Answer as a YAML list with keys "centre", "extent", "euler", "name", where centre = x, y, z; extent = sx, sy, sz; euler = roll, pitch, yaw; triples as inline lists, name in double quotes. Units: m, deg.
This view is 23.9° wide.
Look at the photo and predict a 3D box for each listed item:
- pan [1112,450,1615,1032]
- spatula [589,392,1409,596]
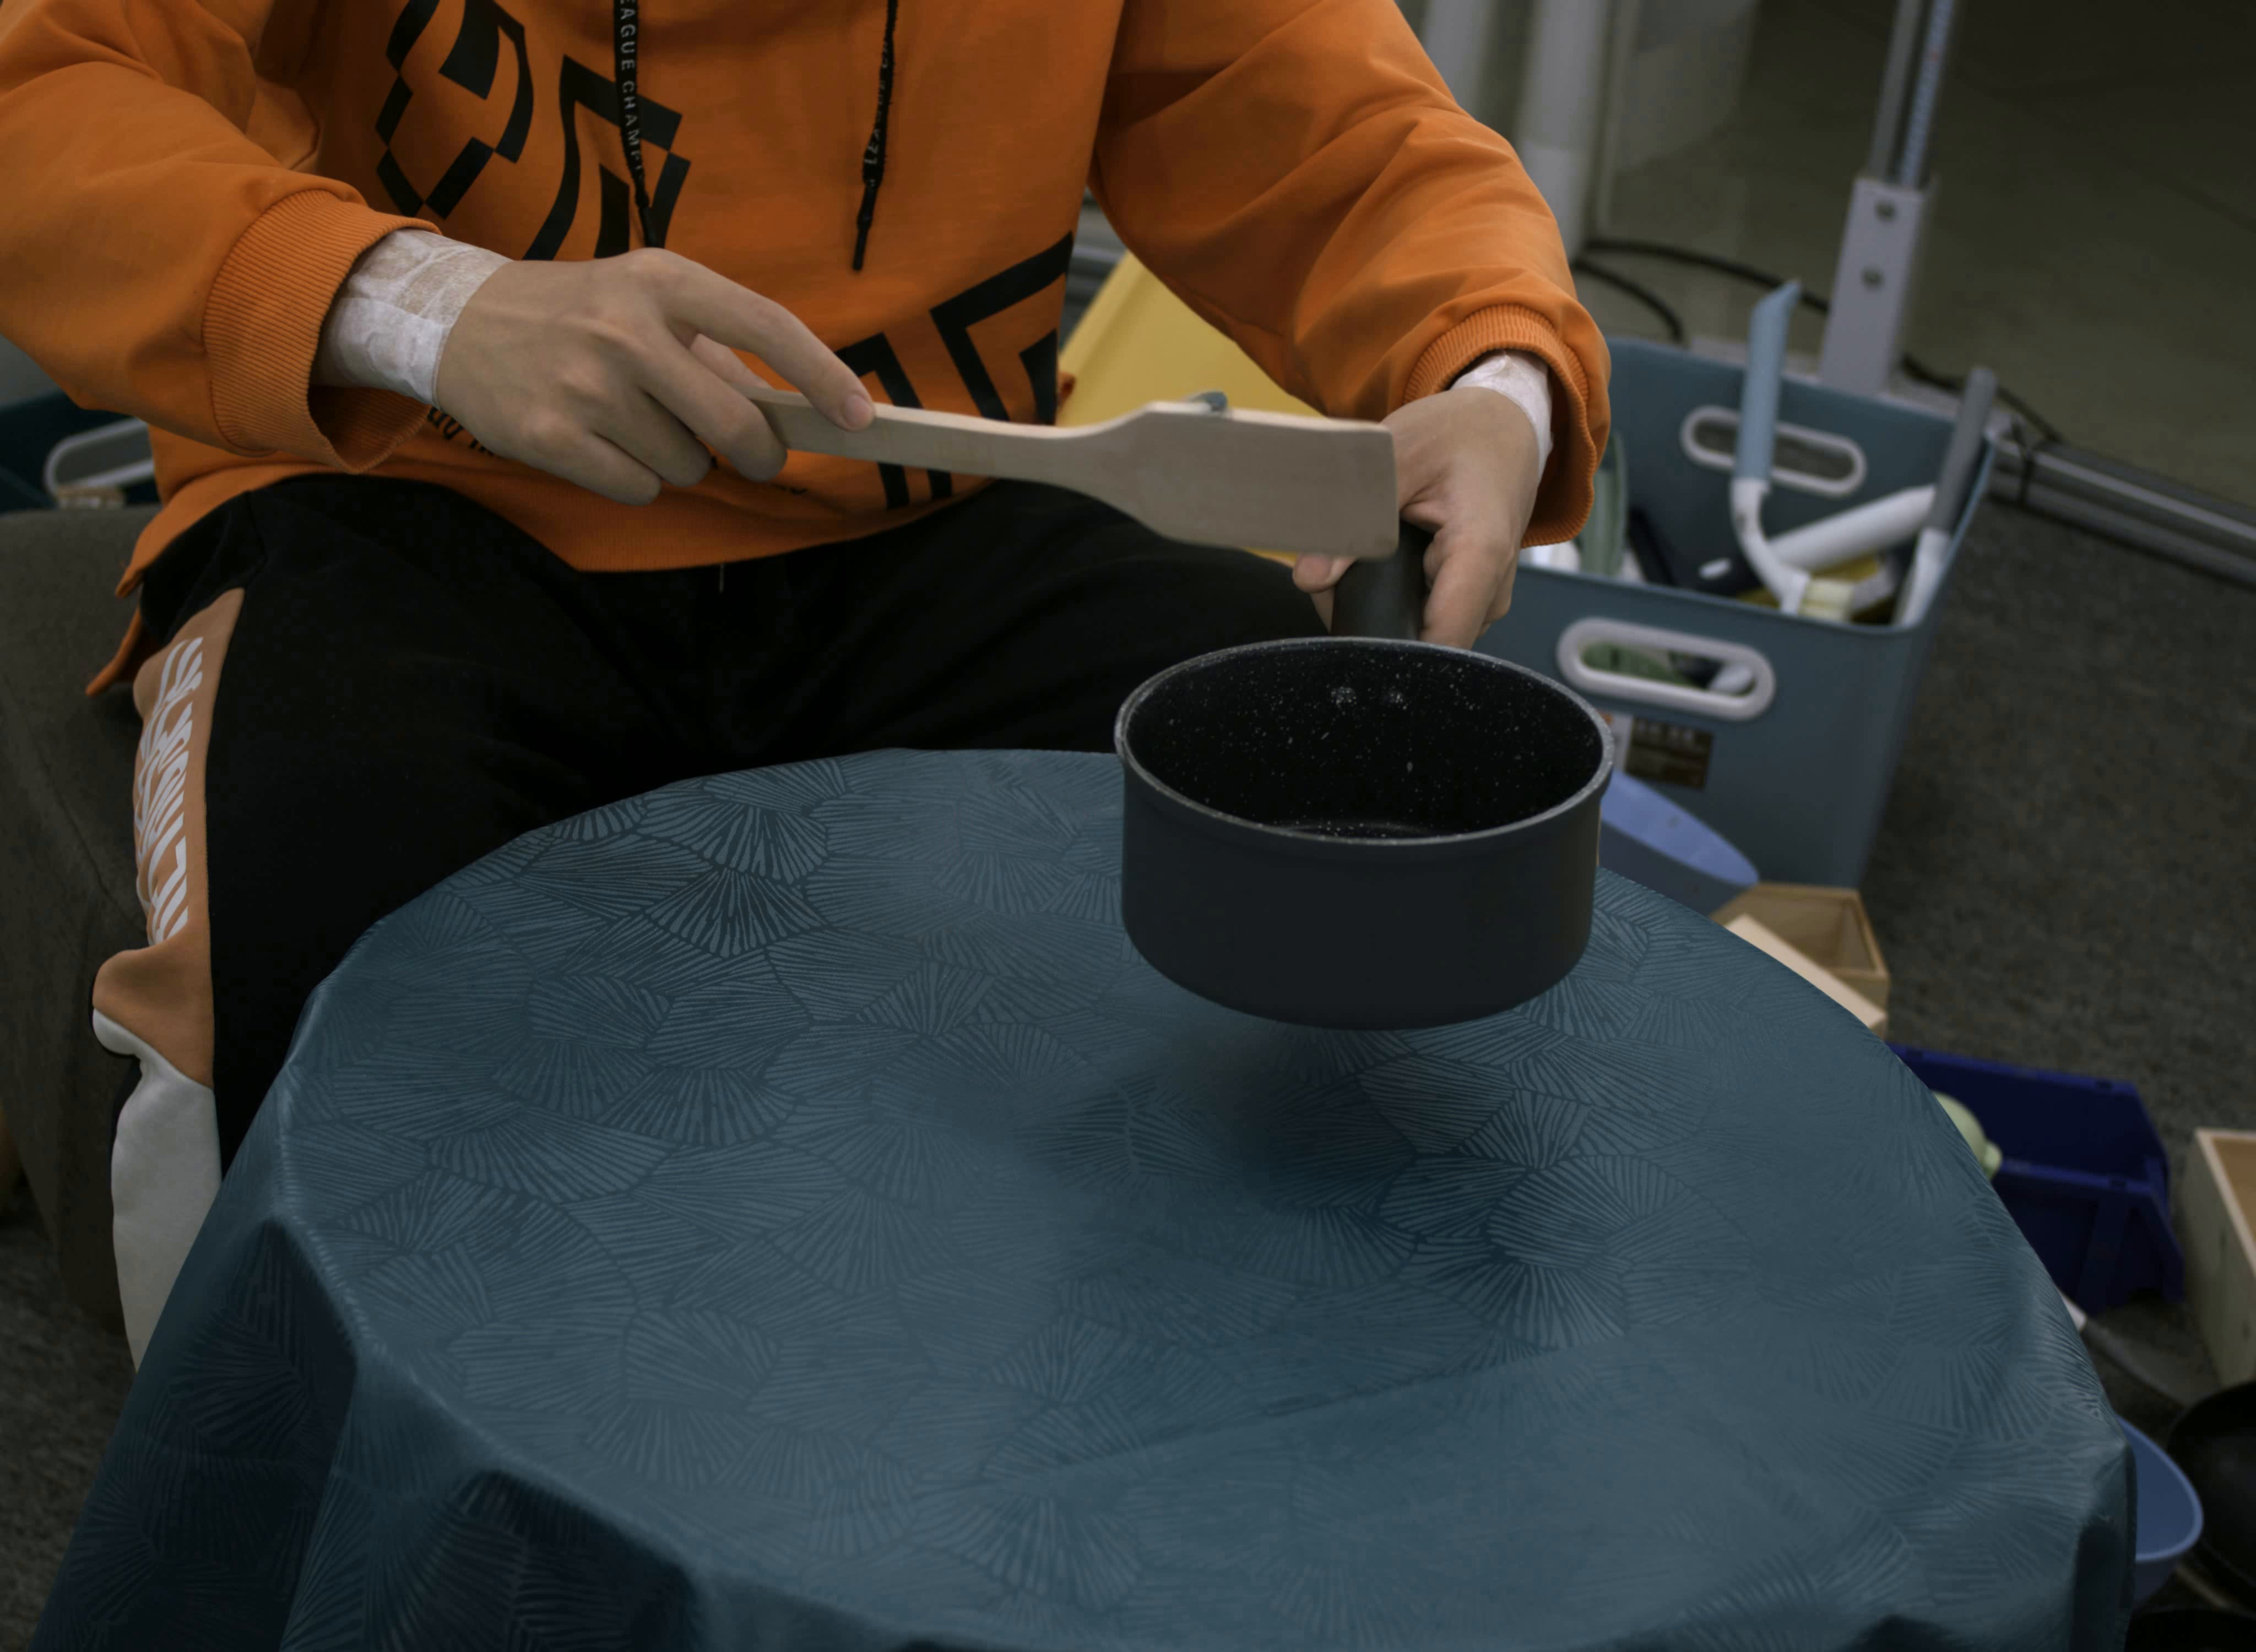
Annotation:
- centre: [0.089, -0.034, 1.898]
  extent: [0.172, 0.086, 0.330]
  euler: [5, 27, 6]
  name: "pan"
- centre: [-0.047, -0.122, 1.843]
  extent: [0.293, 0.072, 0.011]
  euler: [9, 54, 11]
  name: "spatula"
